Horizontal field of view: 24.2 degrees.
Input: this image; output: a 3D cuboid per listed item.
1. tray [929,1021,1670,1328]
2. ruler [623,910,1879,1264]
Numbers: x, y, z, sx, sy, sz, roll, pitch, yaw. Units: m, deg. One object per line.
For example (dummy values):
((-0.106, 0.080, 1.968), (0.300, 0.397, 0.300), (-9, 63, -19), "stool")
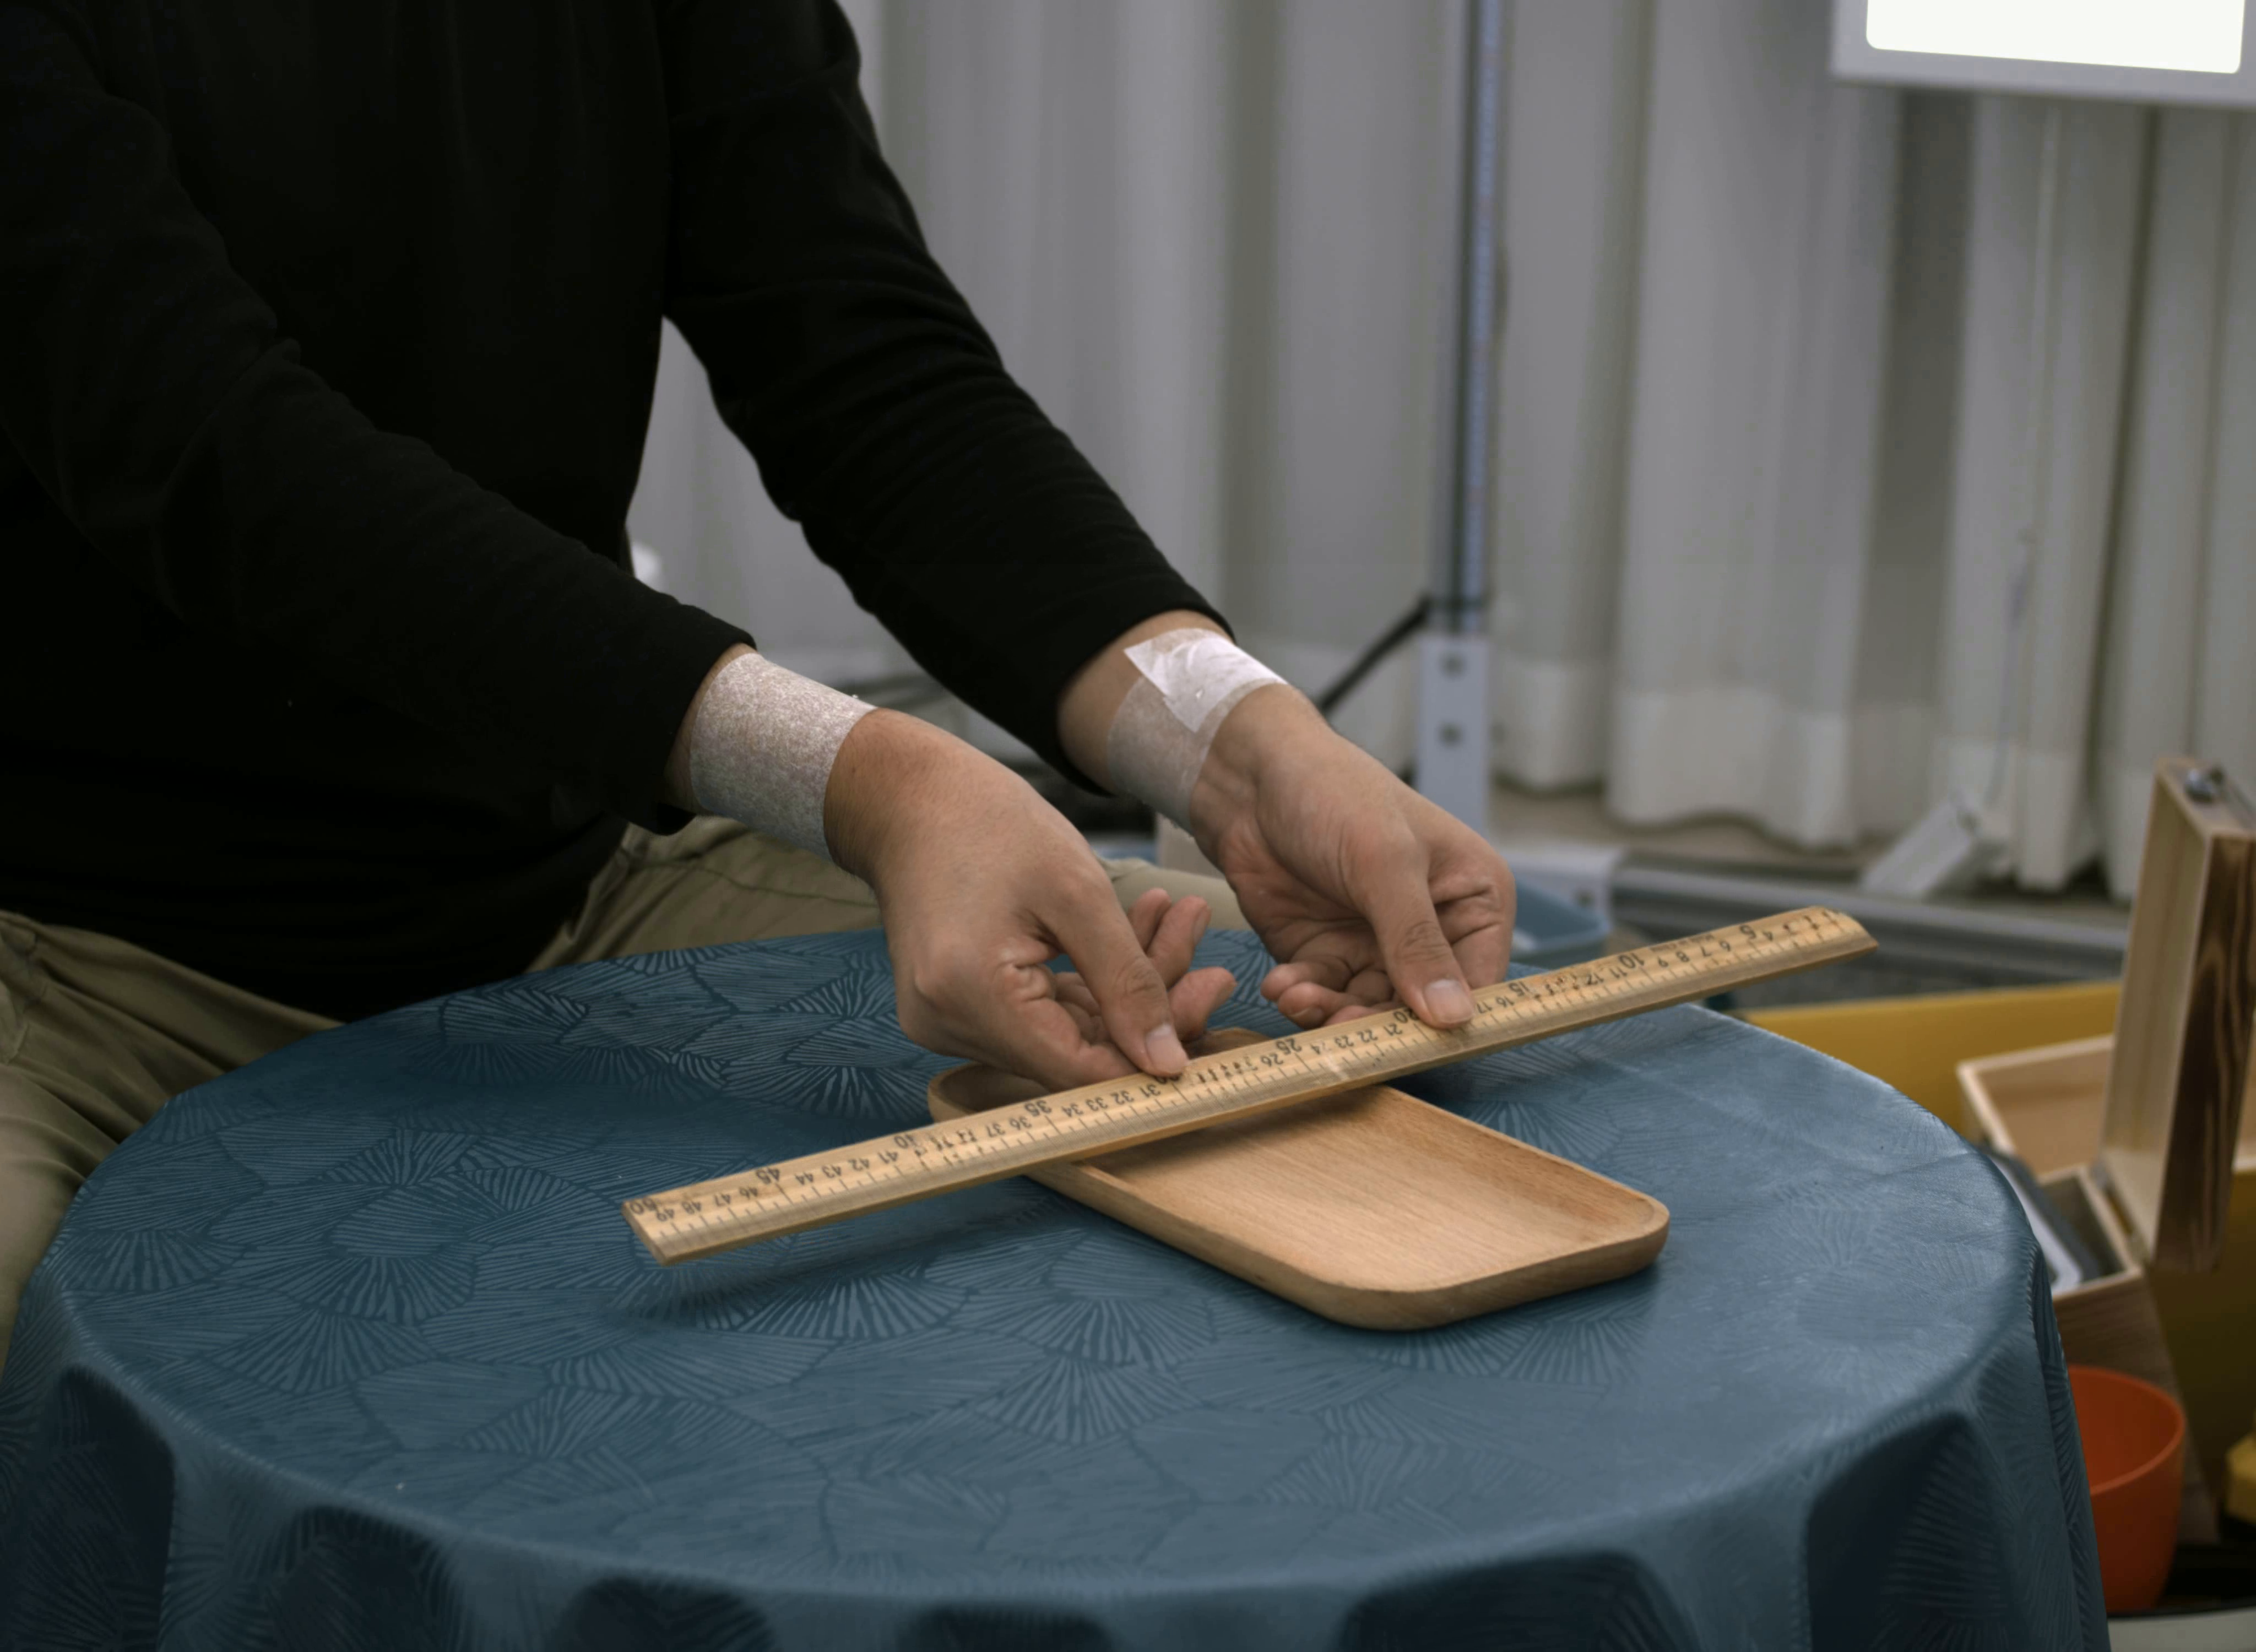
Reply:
((0.049, 0.104, 1.620), (0.131, 0.023, 0.247), (-8, 16, -34), "tray")
((0.055, 0.076, 1.663), (0.503, 0.006, 0.026), (-12, 47, -37), "ruler")
